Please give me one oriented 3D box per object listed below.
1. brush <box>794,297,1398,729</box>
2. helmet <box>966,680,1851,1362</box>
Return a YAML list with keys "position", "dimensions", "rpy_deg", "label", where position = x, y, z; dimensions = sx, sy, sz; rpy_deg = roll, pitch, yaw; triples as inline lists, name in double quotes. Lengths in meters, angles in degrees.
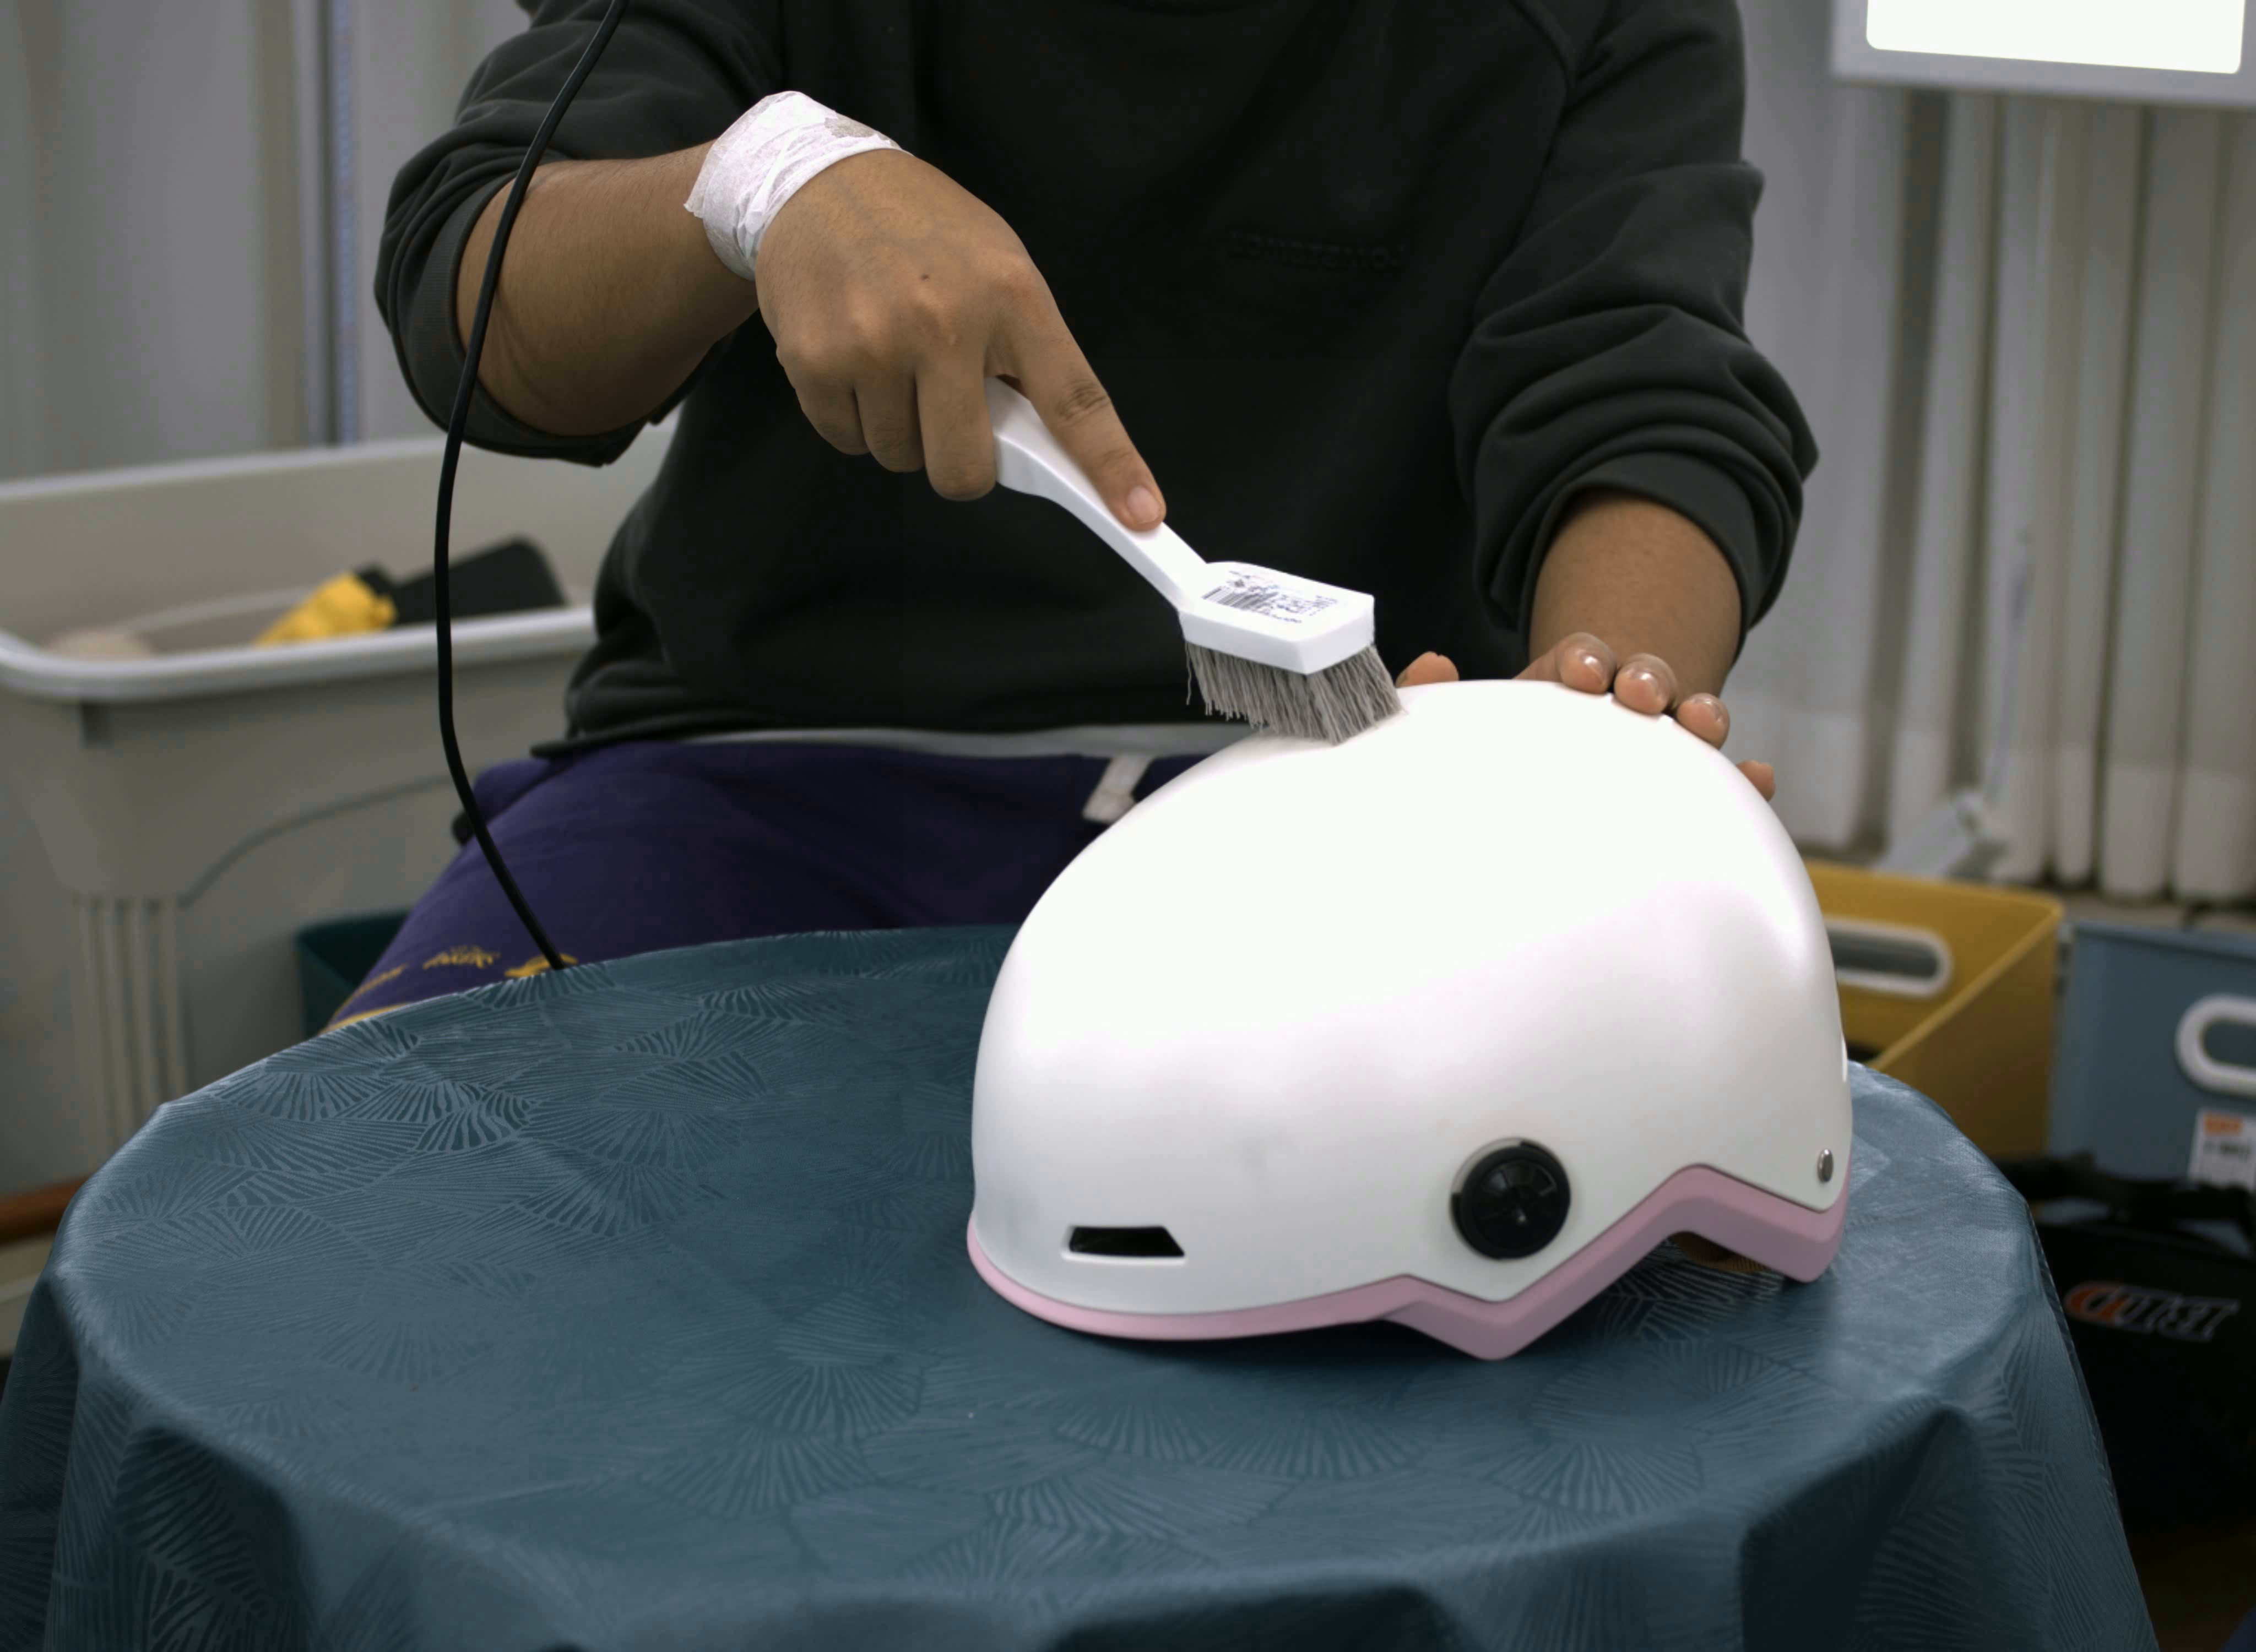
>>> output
- position: [-0.014, -0.094, 1.594]
  dimensions: [0.240, 0.051, 0.034]
  rpy_deg: [32, 48, 32]
  label: "brush"
- position: [0.084, 0.045, 1.562]
  dimensions: [0.269, 0.168, 0.234]
  rpy_deg: [-7, 18, -22]
  label: "helmet"
